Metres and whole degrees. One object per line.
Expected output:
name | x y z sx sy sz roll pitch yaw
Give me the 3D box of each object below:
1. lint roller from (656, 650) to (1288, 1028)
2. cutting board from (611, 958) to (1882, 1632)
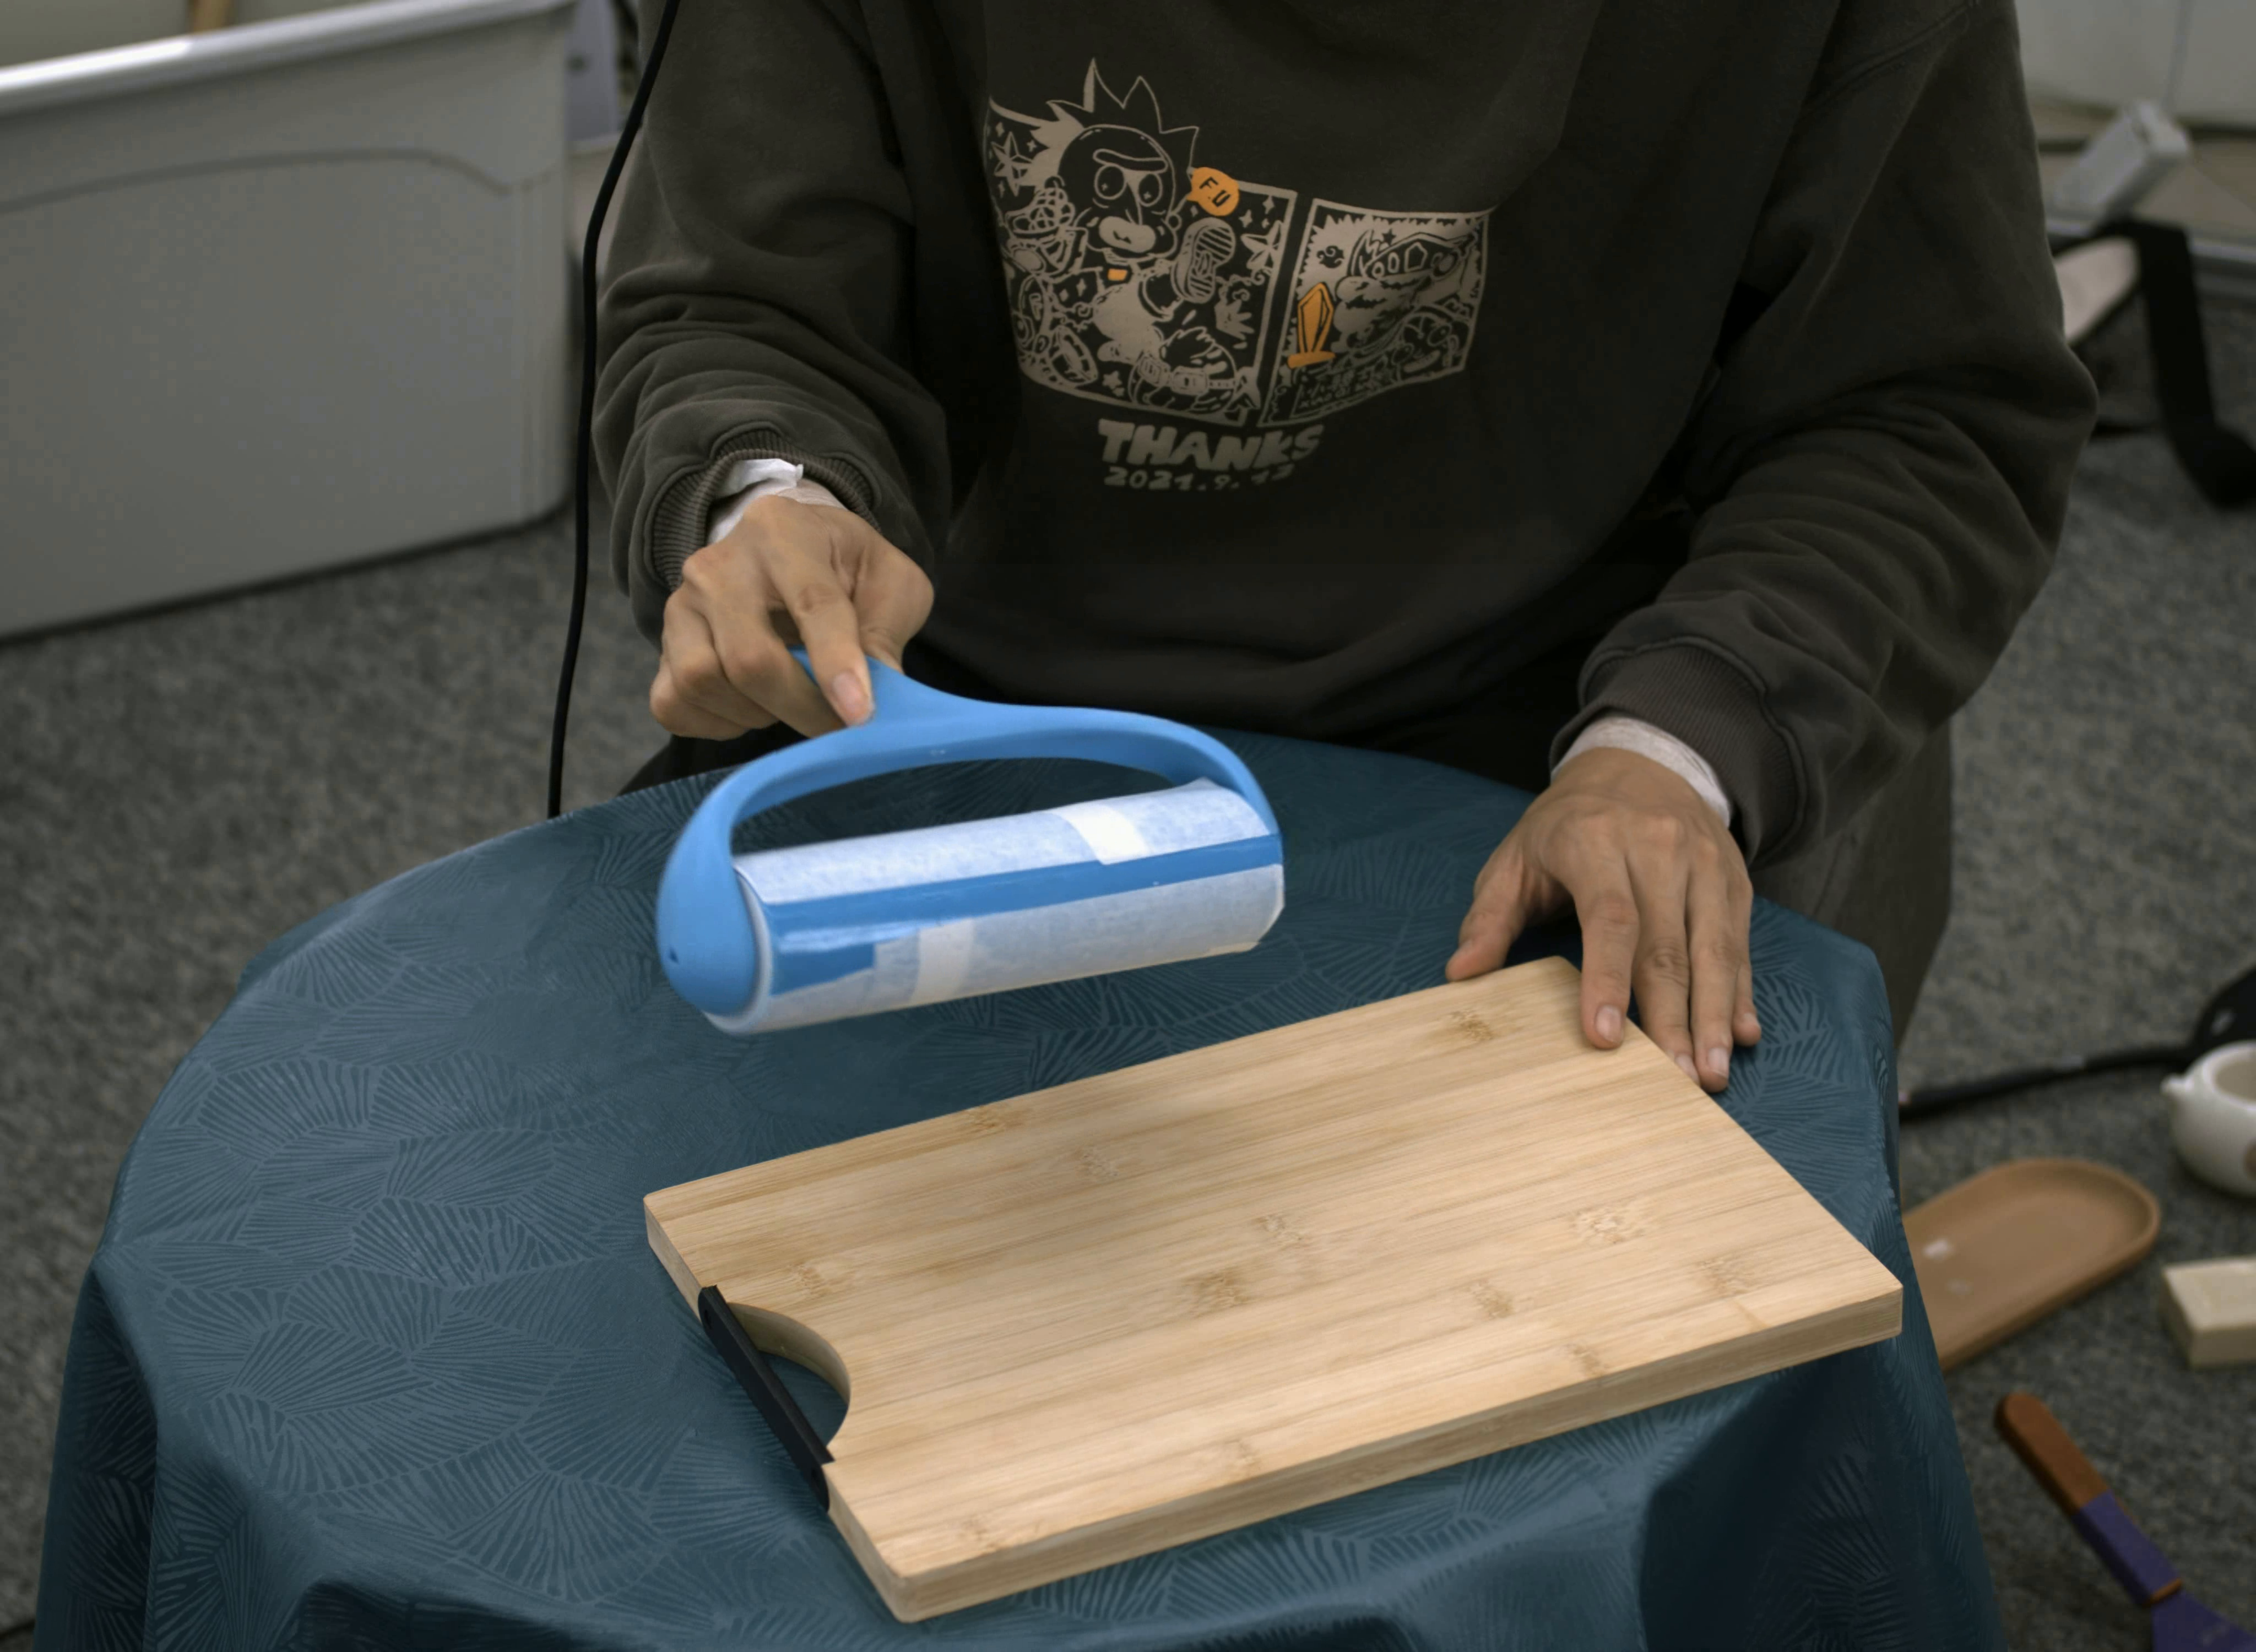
lint roller | -0.076 -0.014 1.769 0.230 0.067 0.182 -9 45 -37
cutting board | 0.036 0.143 1.800 0.350 0.023 0.252 -14 29 -20
